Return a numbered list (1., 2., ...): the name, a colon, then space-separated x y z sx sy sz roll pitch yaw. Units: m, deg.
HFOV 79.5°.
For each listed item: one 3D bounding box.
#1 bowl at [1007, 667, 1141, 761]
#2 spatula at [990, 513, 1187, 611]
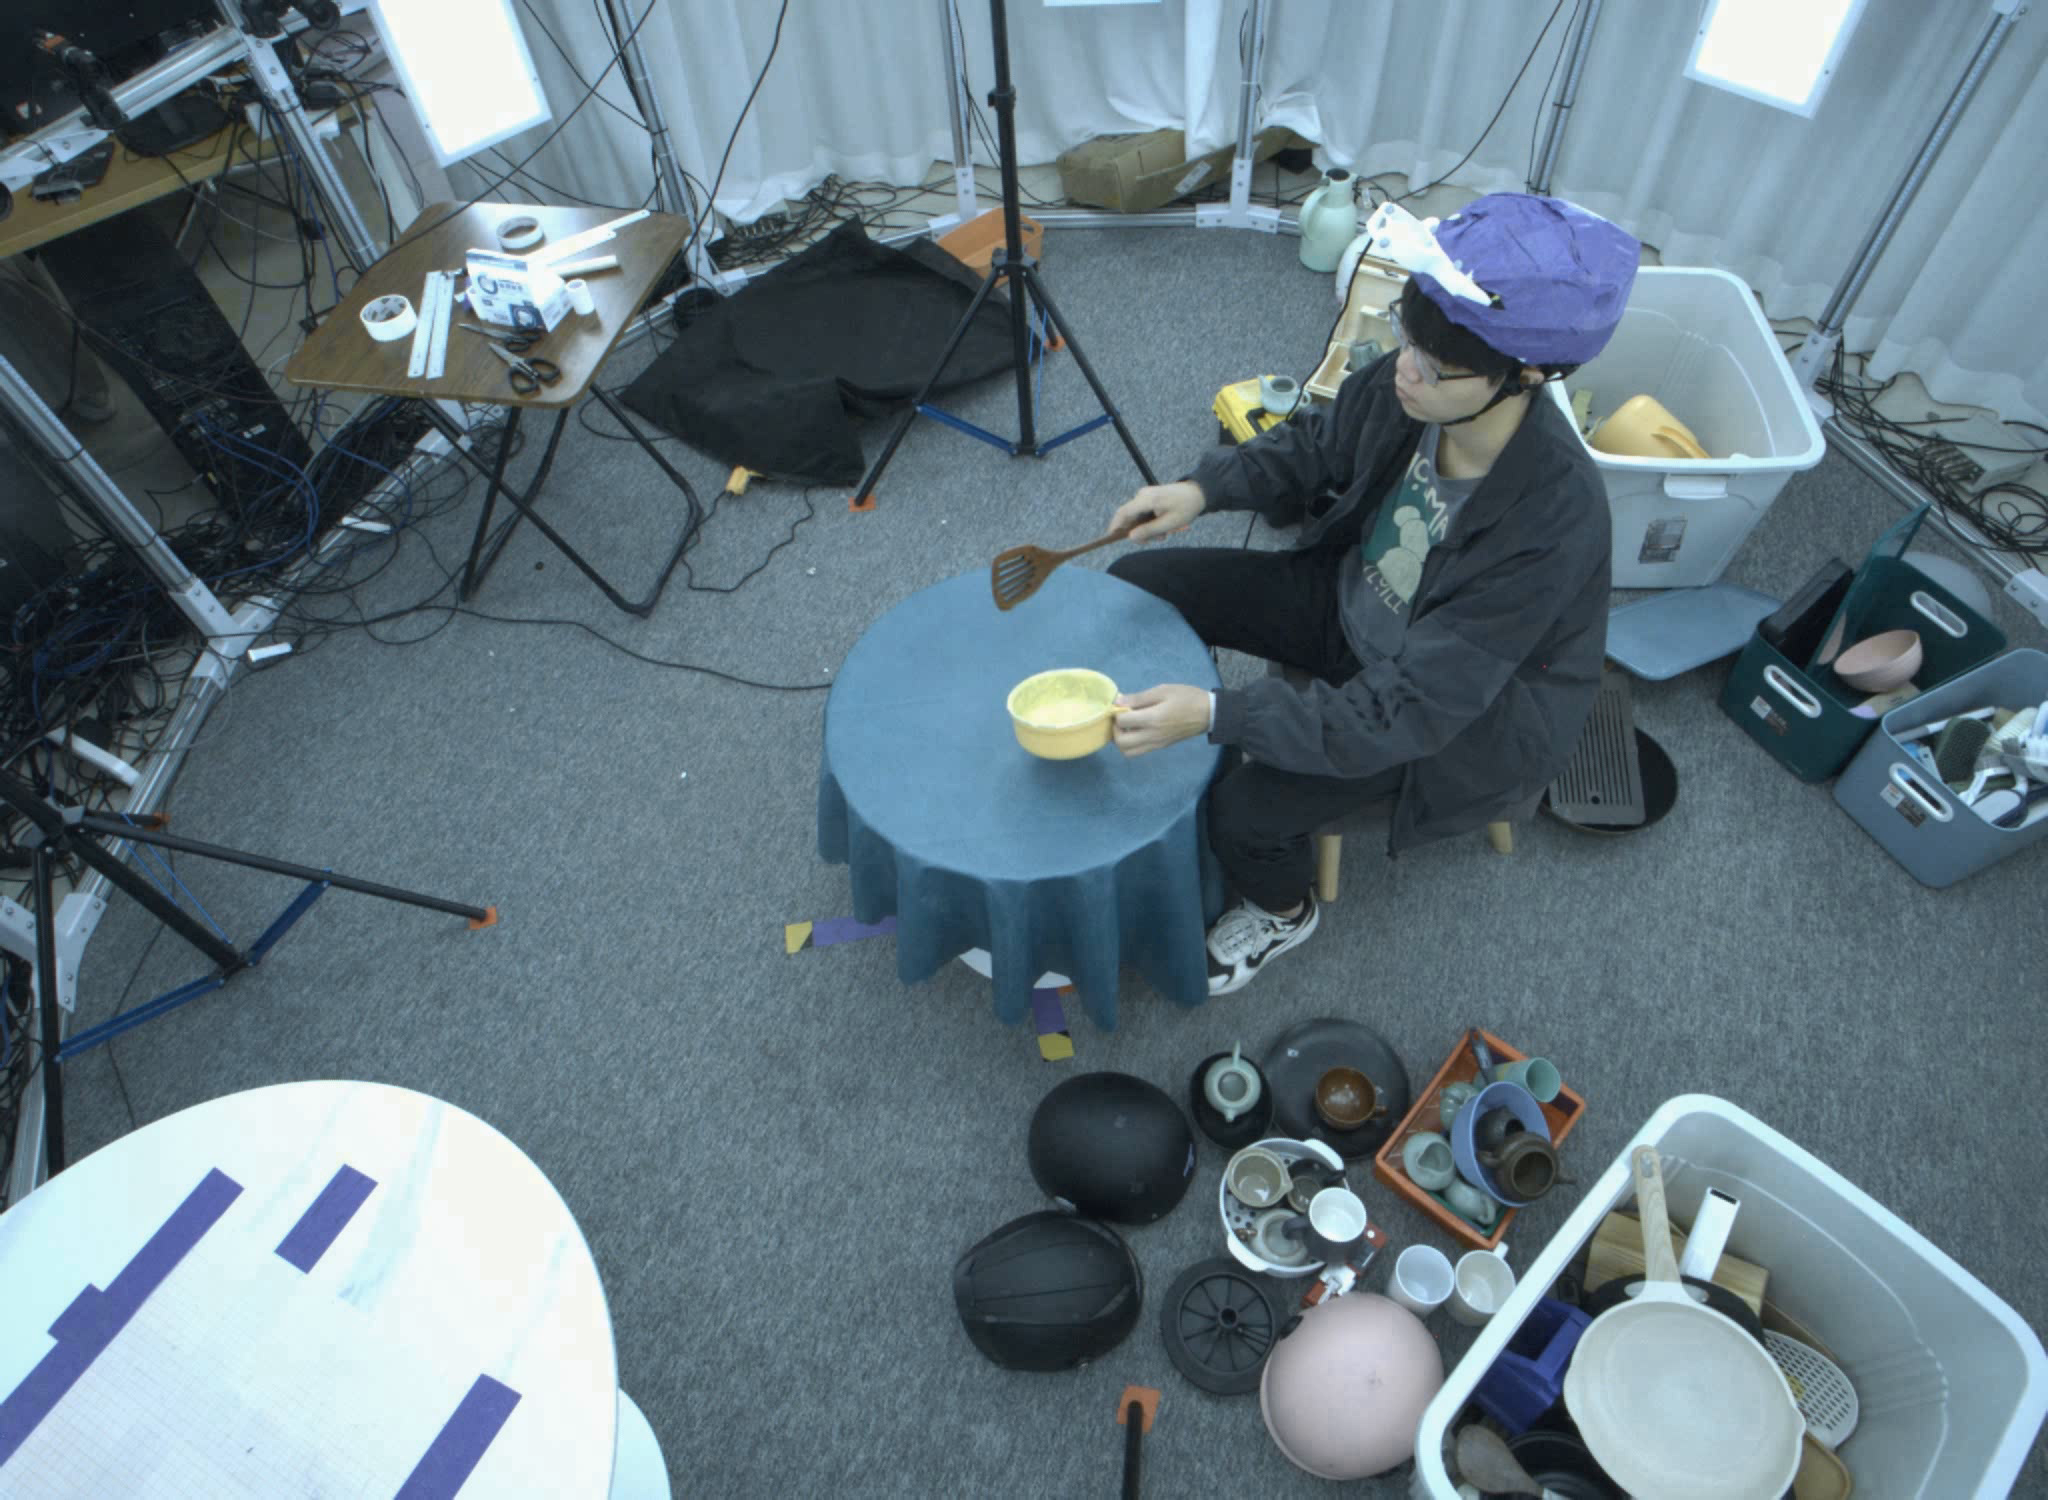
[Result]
1. bowl: 0.069 -0.044 1.691 0.177 0.075 0.152 2 35 15
2. spatula: 0.099 -0.295 1.804 0.392 0.086 0.023 -24 23 -32
